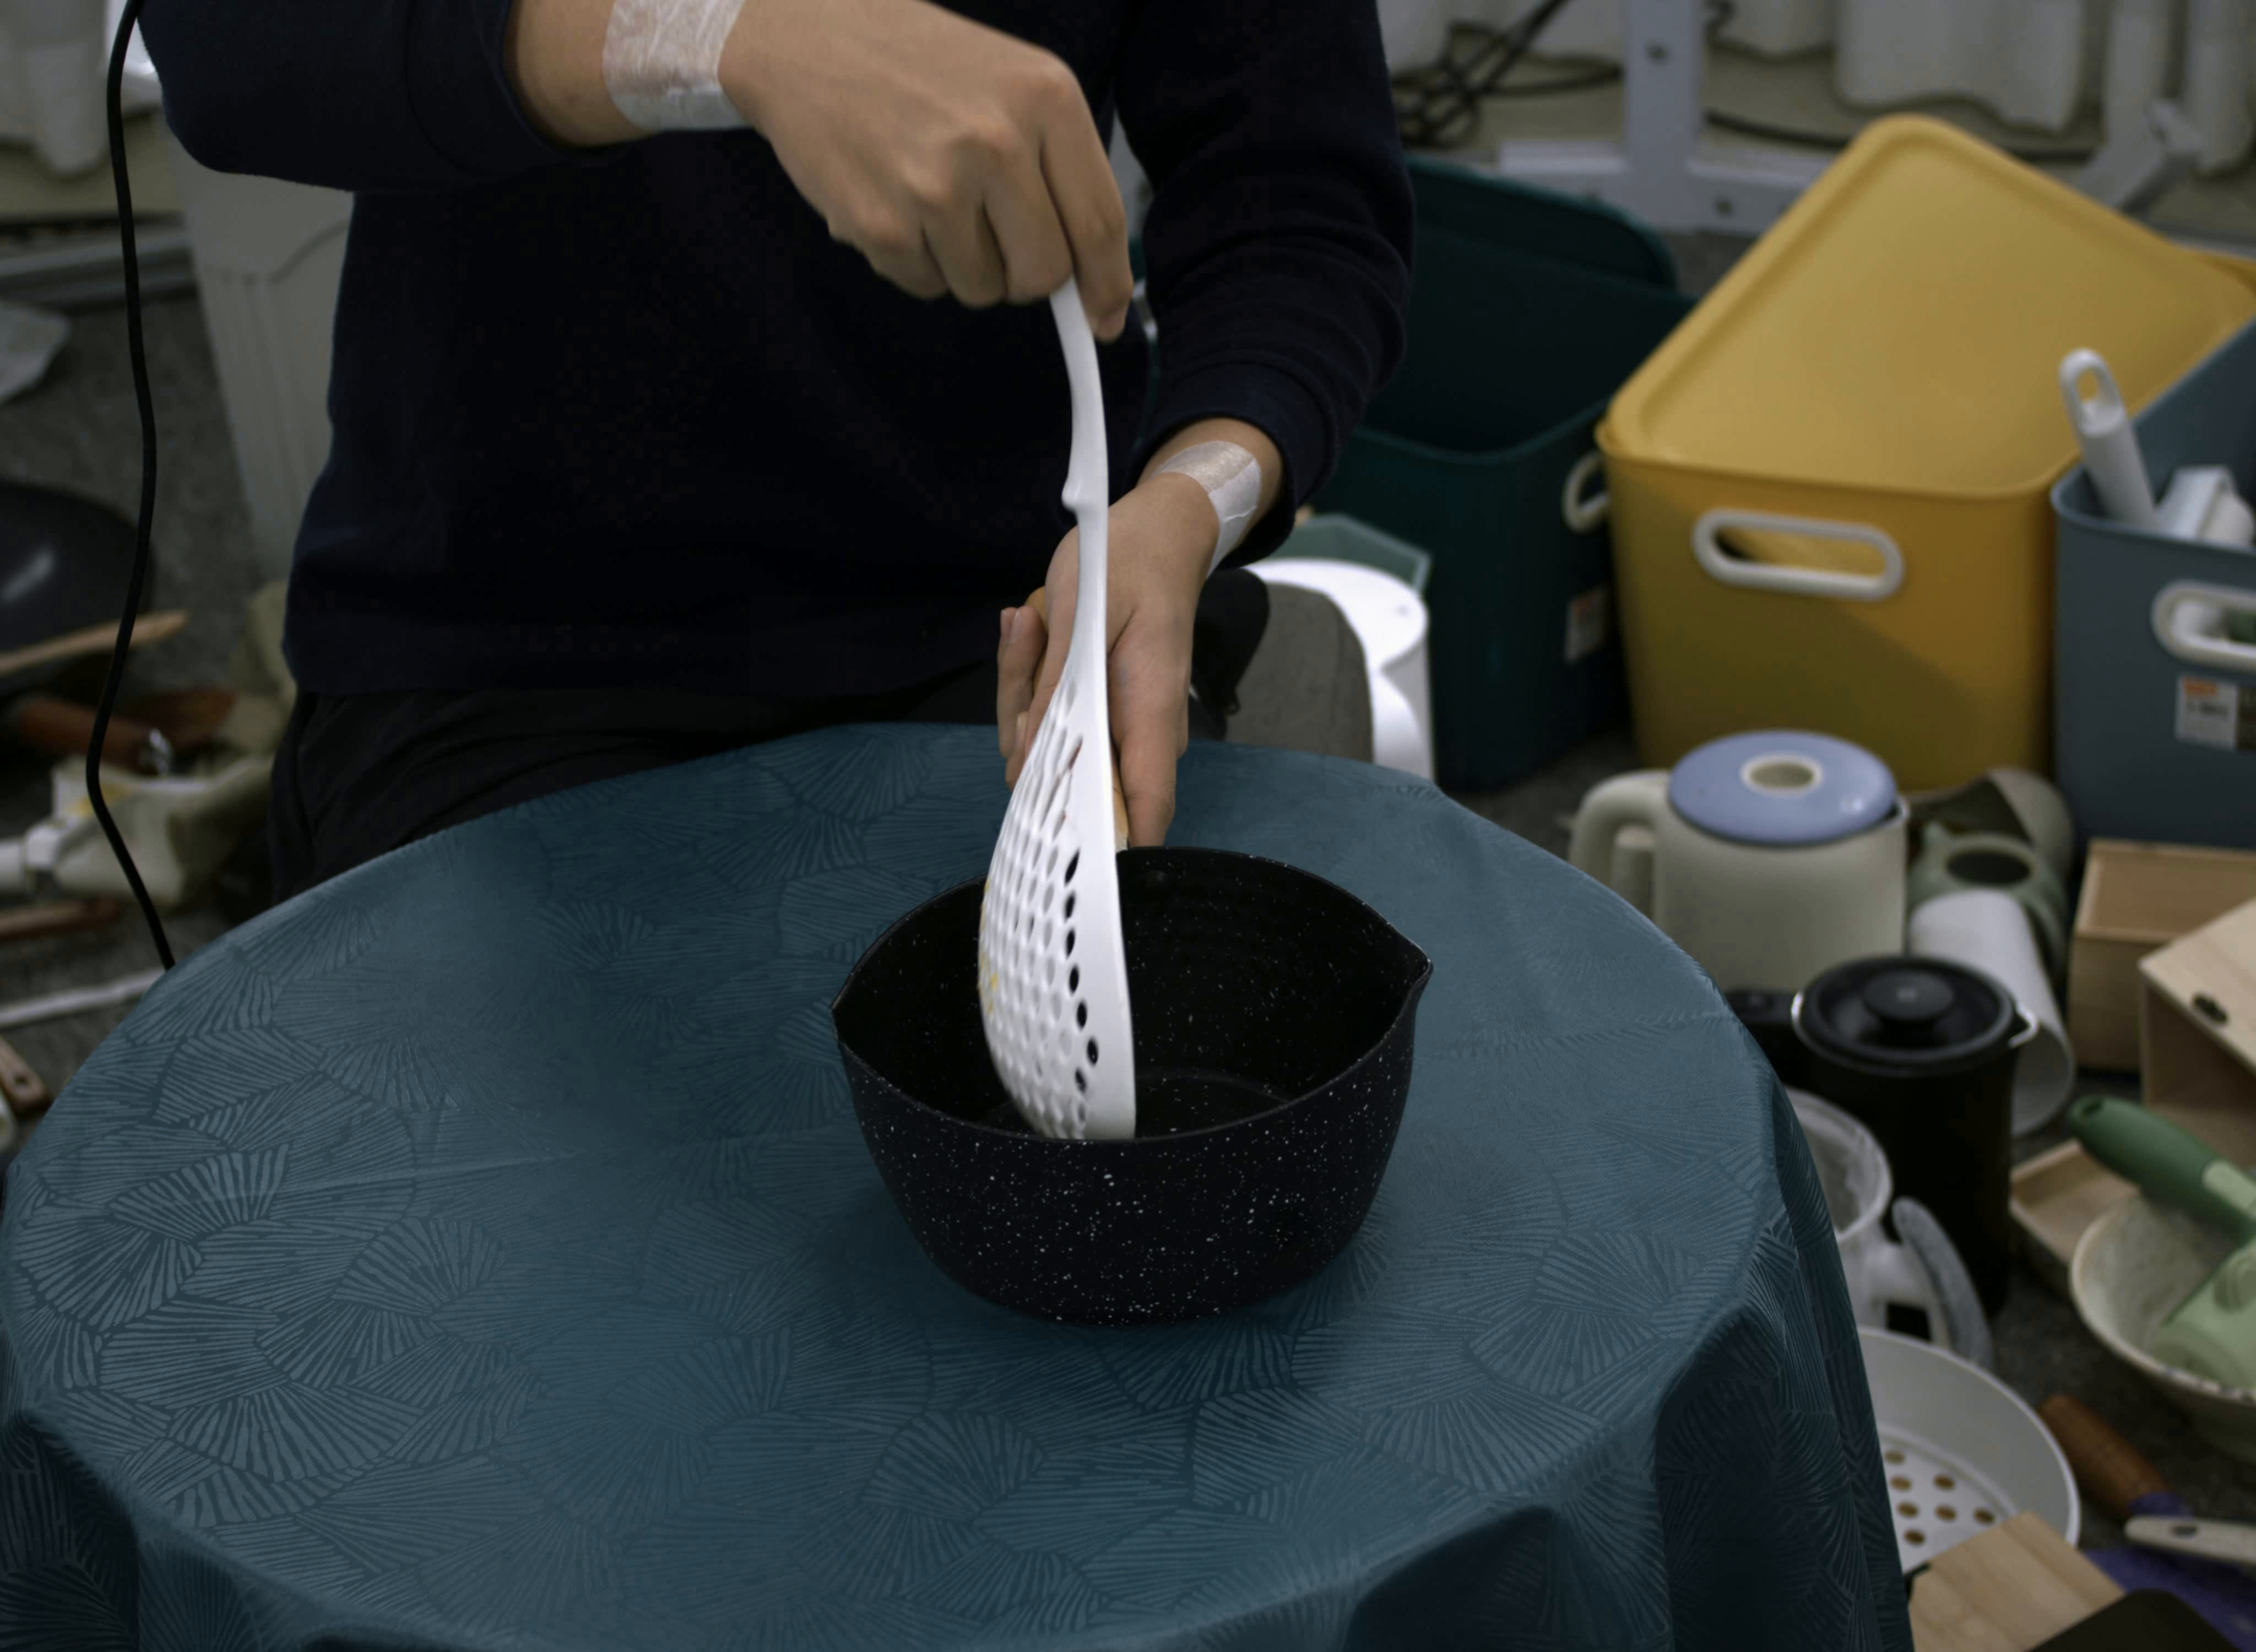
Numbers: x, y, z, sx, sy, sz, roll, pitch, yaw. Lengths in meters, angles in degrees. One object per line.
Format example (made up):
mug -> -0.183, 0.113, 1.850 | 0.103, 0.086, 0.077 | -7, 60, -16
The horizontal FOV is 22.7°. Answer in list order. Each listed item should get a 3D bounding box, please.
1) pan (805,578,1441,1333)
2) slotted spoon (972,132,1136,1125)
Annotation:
pan -> -0.008, 0.040, 1.898 | 0.207, 0.107, 0.348 | -7, 30, -4
slotted spoon -> -0.022, -0.048, 1.768 | 0.050, 0.345, 0.138 | 1, 20, -11
